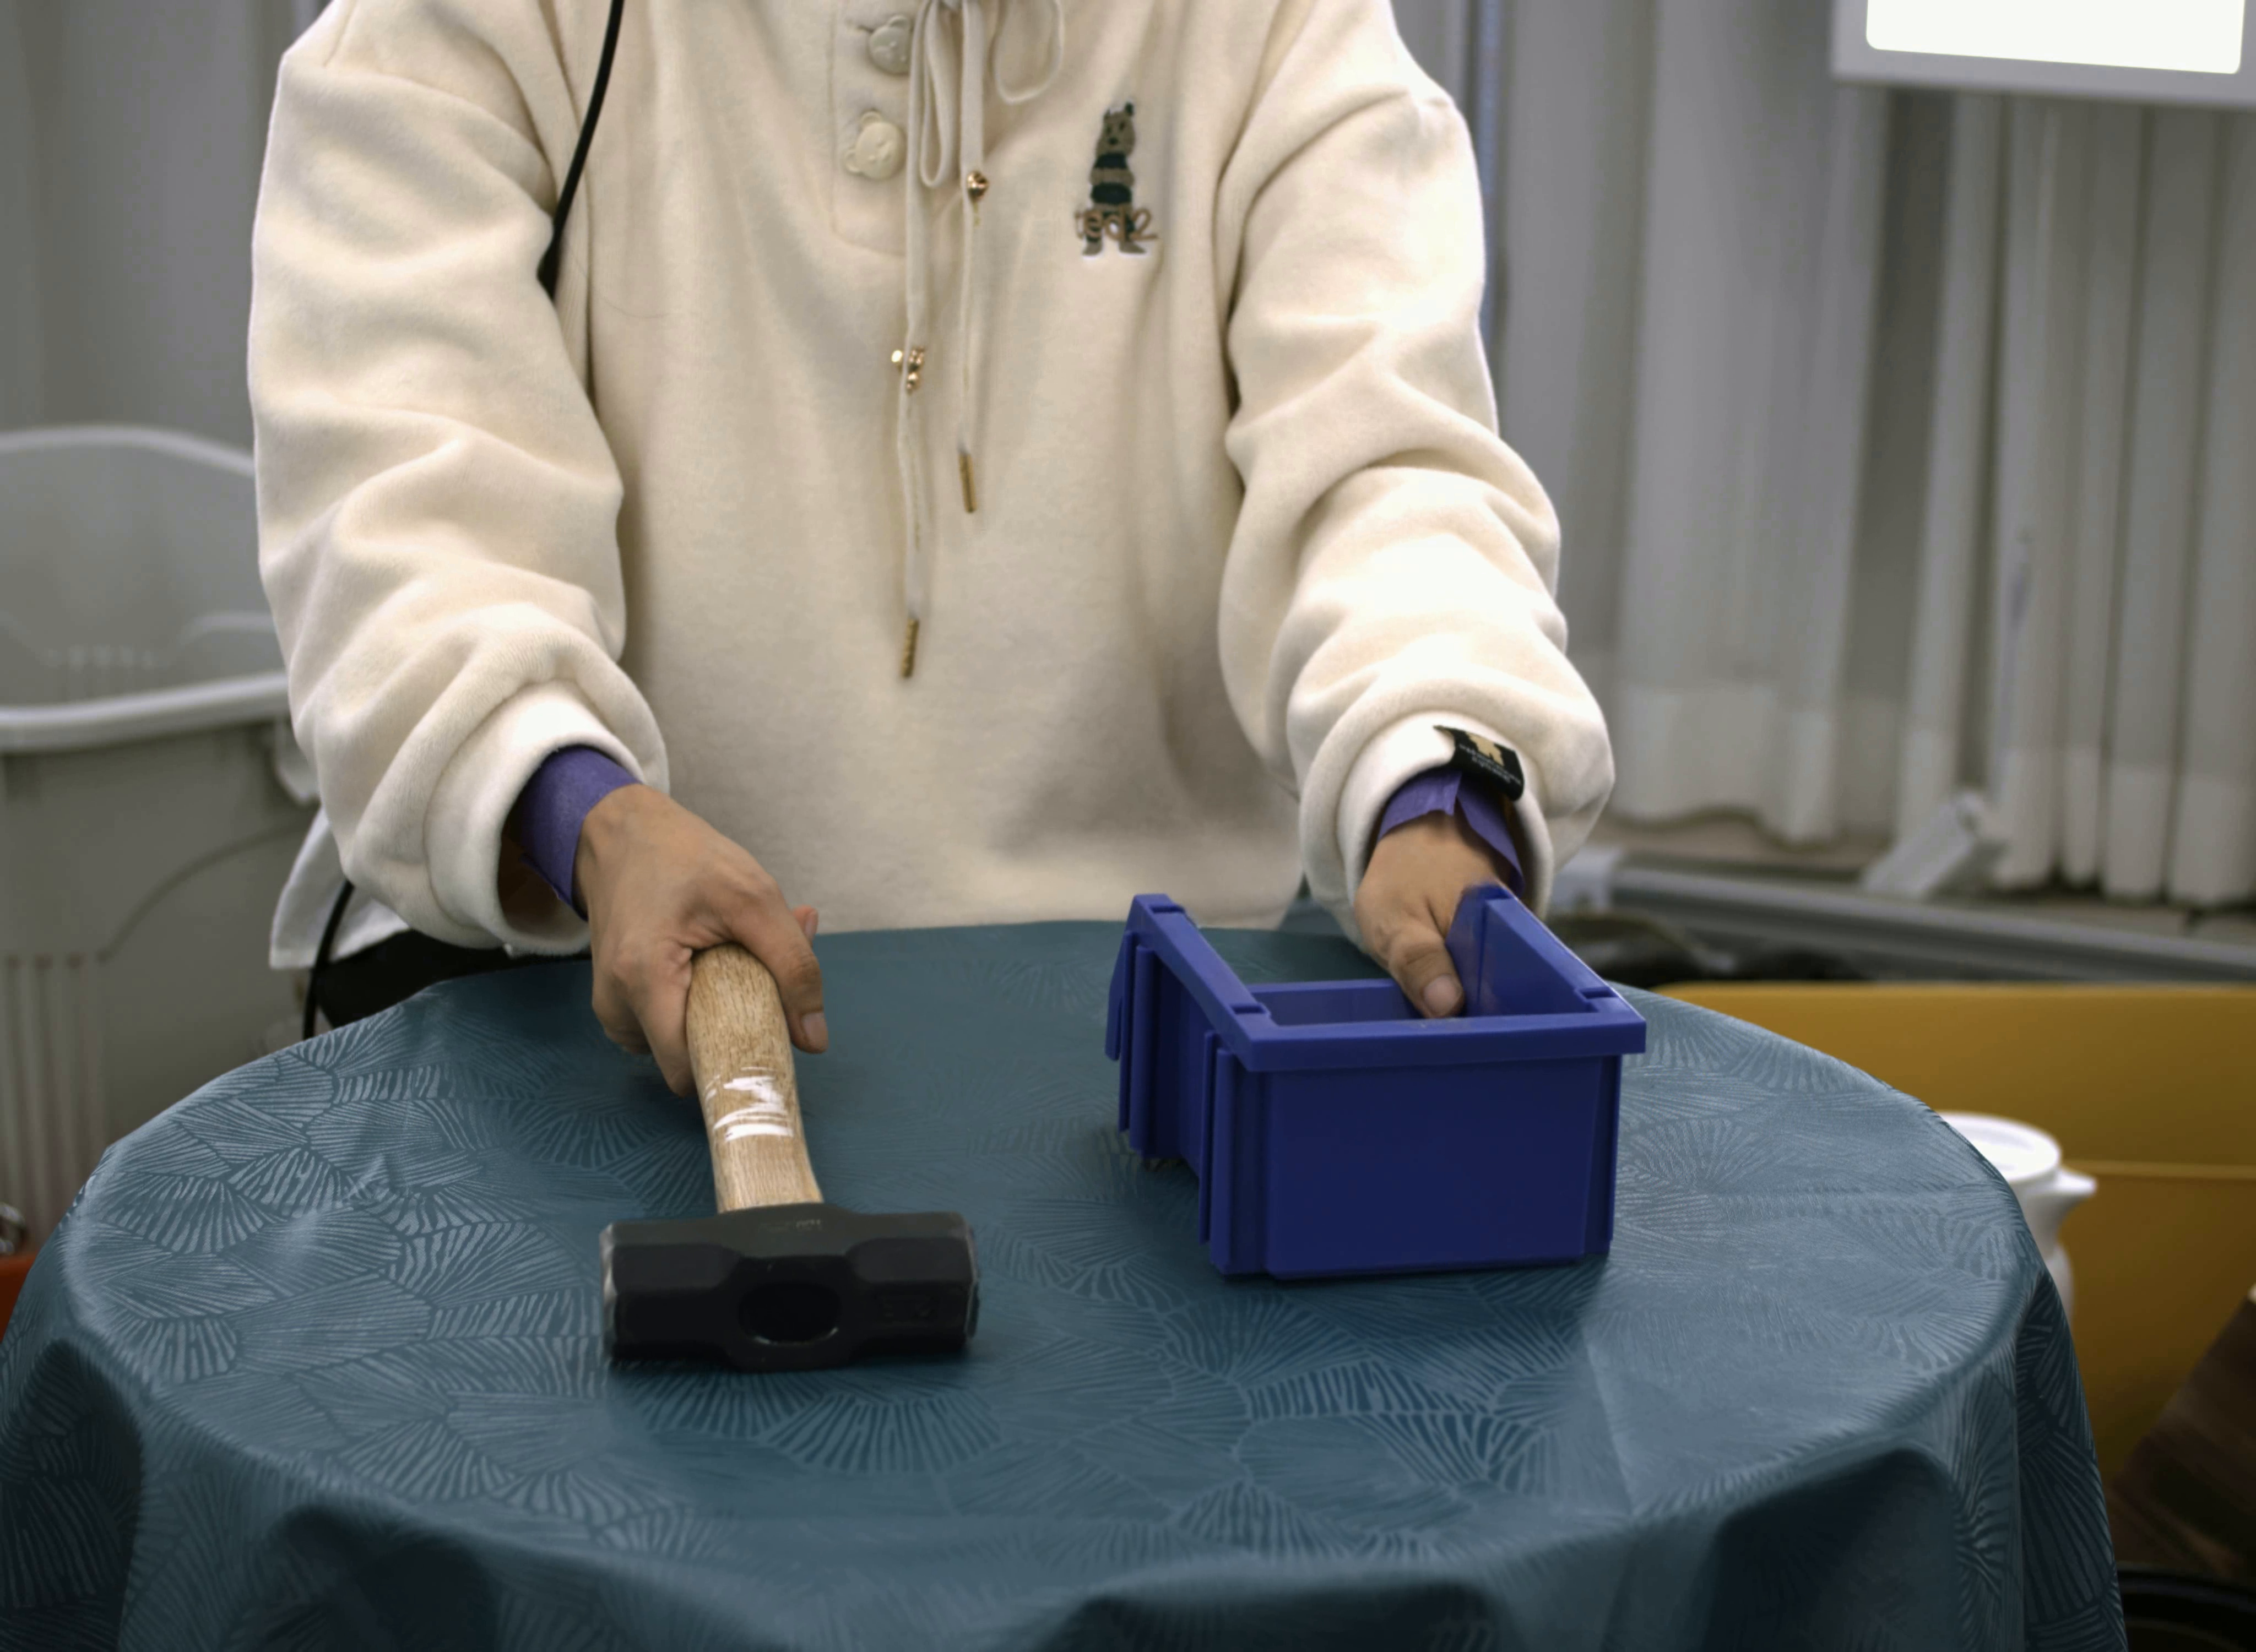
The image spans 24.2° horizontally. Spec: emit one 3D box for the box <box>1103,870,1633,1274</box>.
[{"bbox_3d":[0.067,0.071,1.616,0.124,0.082,0.177,-2,18,-13],"label":"box"}]

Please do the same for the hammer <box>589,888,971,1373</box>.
[{"bbox_3d":[-0.111,0.084,1.603,0.107,0.039,0.302,-1,20,-6],"label":"hammer"}]
